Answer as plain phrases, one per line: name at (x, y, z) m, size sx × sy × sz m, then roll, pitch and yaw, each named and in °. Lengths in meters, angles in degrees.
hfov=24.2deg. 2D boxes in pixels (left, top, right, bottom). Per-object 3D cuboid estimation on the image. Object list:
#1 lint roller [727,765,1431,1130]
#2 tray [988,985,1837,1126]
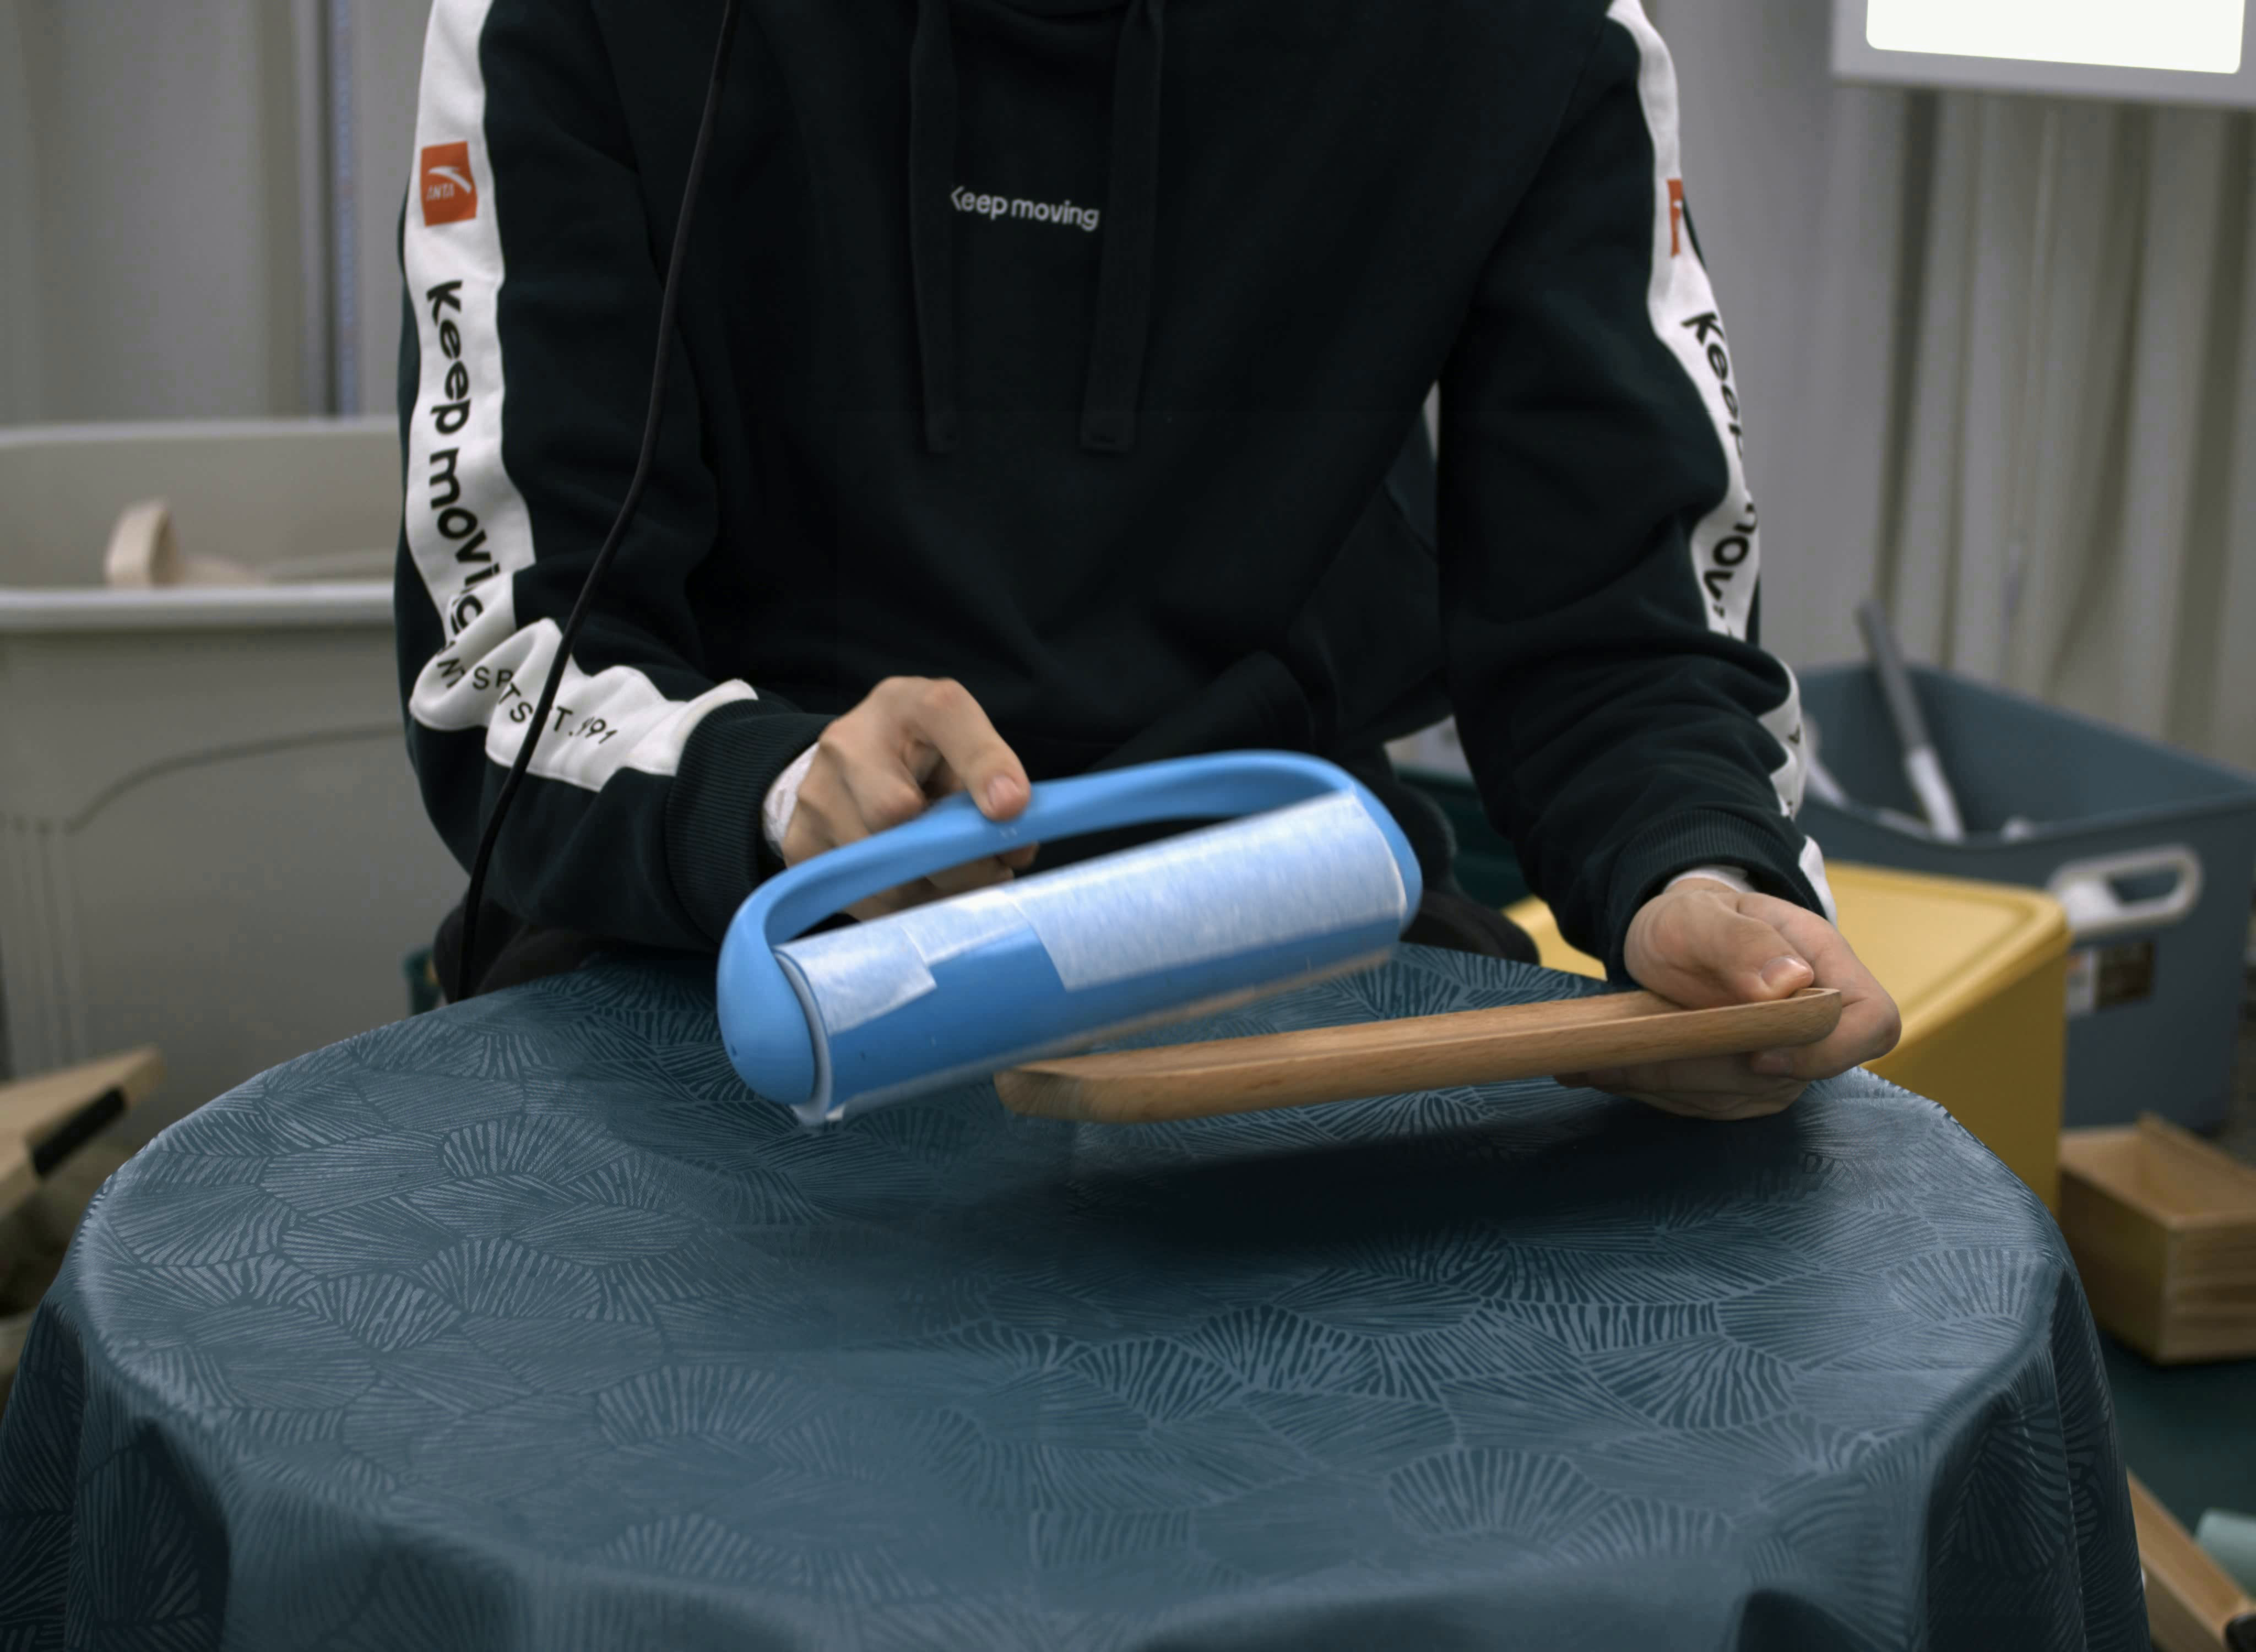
lint roller at (-0.041, 0.023, 1.613) m, size 0.229 × 0.068 × 0.178 m, roll -17°, pitch 25°, yaw -27°
tray at (0.087, 0.069, 1.611) m, size 0.251 × 0.023 × 0.130 m, roll -7°, pitch -1°, yaw -21°
